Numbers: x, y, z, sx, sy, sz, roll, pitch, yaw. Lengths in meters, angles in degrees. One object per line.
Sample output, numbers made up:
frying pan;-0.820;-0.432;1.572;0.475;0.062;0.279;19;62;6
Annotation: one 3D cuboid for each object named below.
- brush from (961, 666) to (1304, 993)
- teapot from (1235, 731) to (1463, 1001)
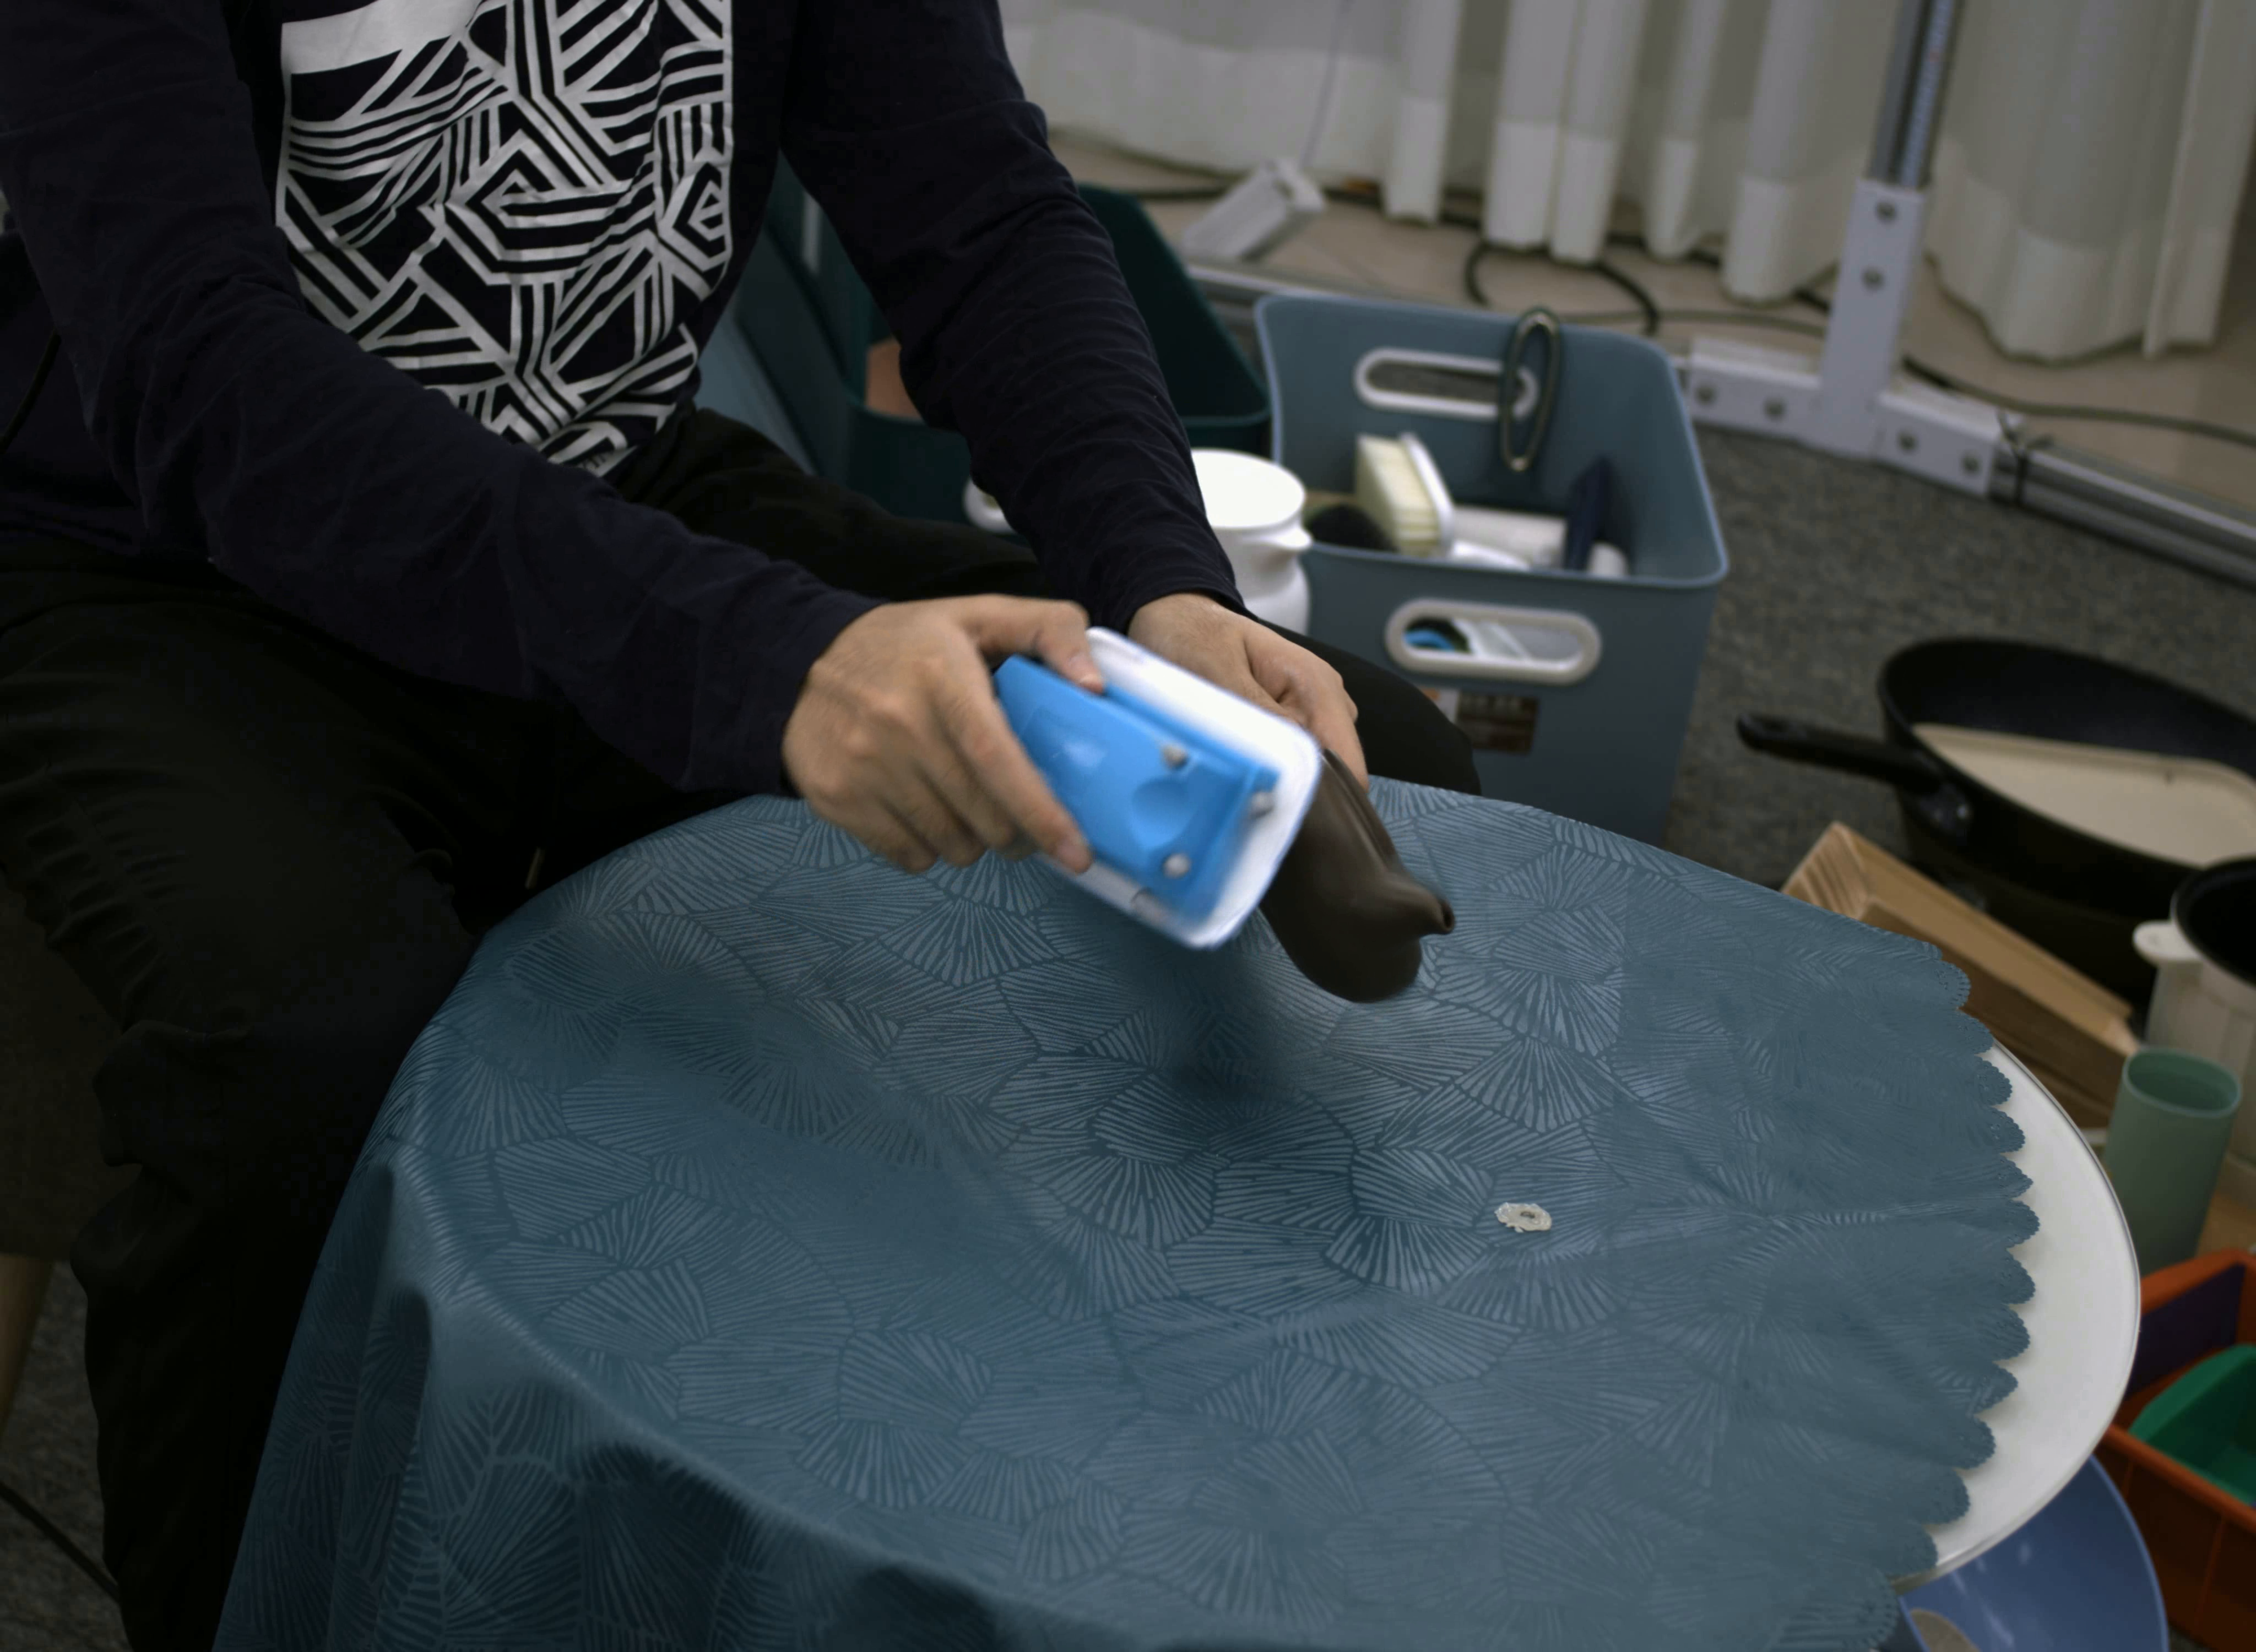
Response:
brush;-0.007;-0.005;1.794;0.055;0.084;0.145;34;1;-42
teapot;0.070;0.011;1.880;0.054;0.102;0.155;-28;36;-2
